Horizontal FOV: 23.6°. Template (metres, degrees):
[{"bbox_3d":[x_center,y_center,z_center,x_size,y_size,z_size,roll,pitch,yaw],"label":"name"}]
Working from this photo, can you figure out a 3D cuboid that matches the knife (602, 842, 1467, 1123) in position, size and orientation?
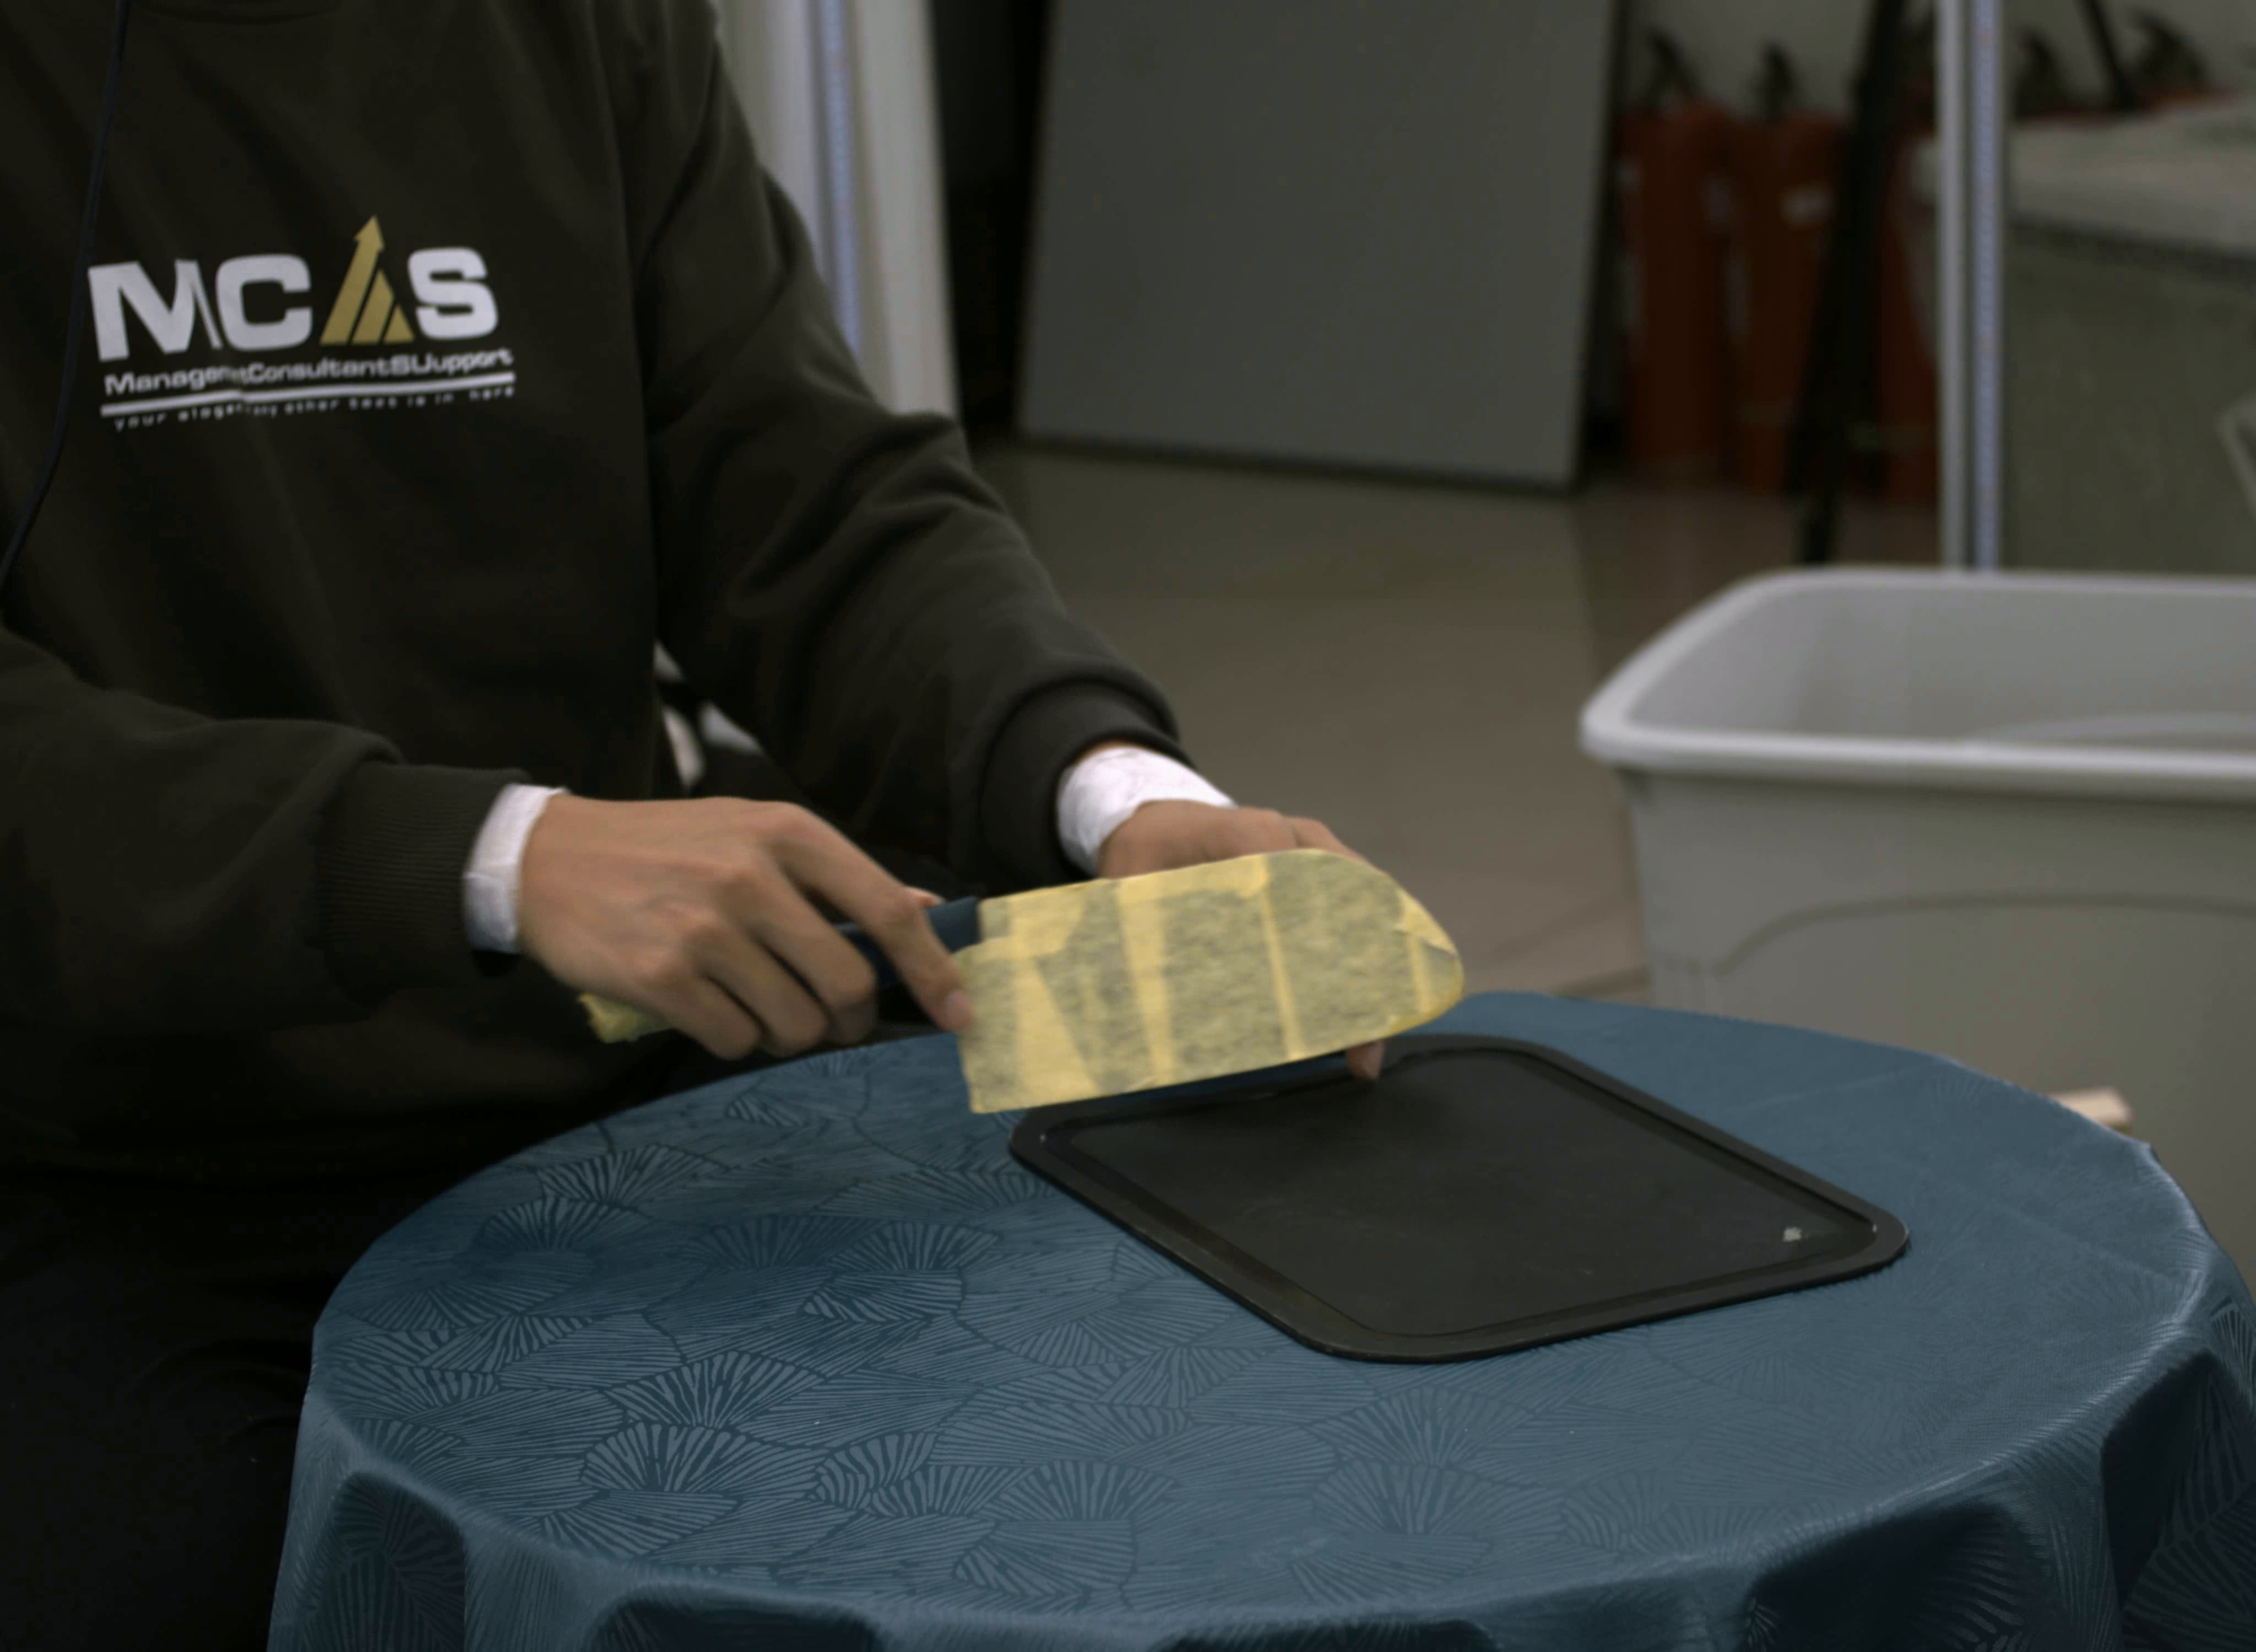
[{"bbox_3d":[-0.029,0.056,1.774,0.286,0.082,0.027,-8,-19,1],"label":"knife"}]

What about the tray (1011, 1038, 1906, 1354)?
[{"bbox_3d":[0.097,0.114,1.759,0.206,0.010,0.328,-10,15,-22],"label":"tray"}]
